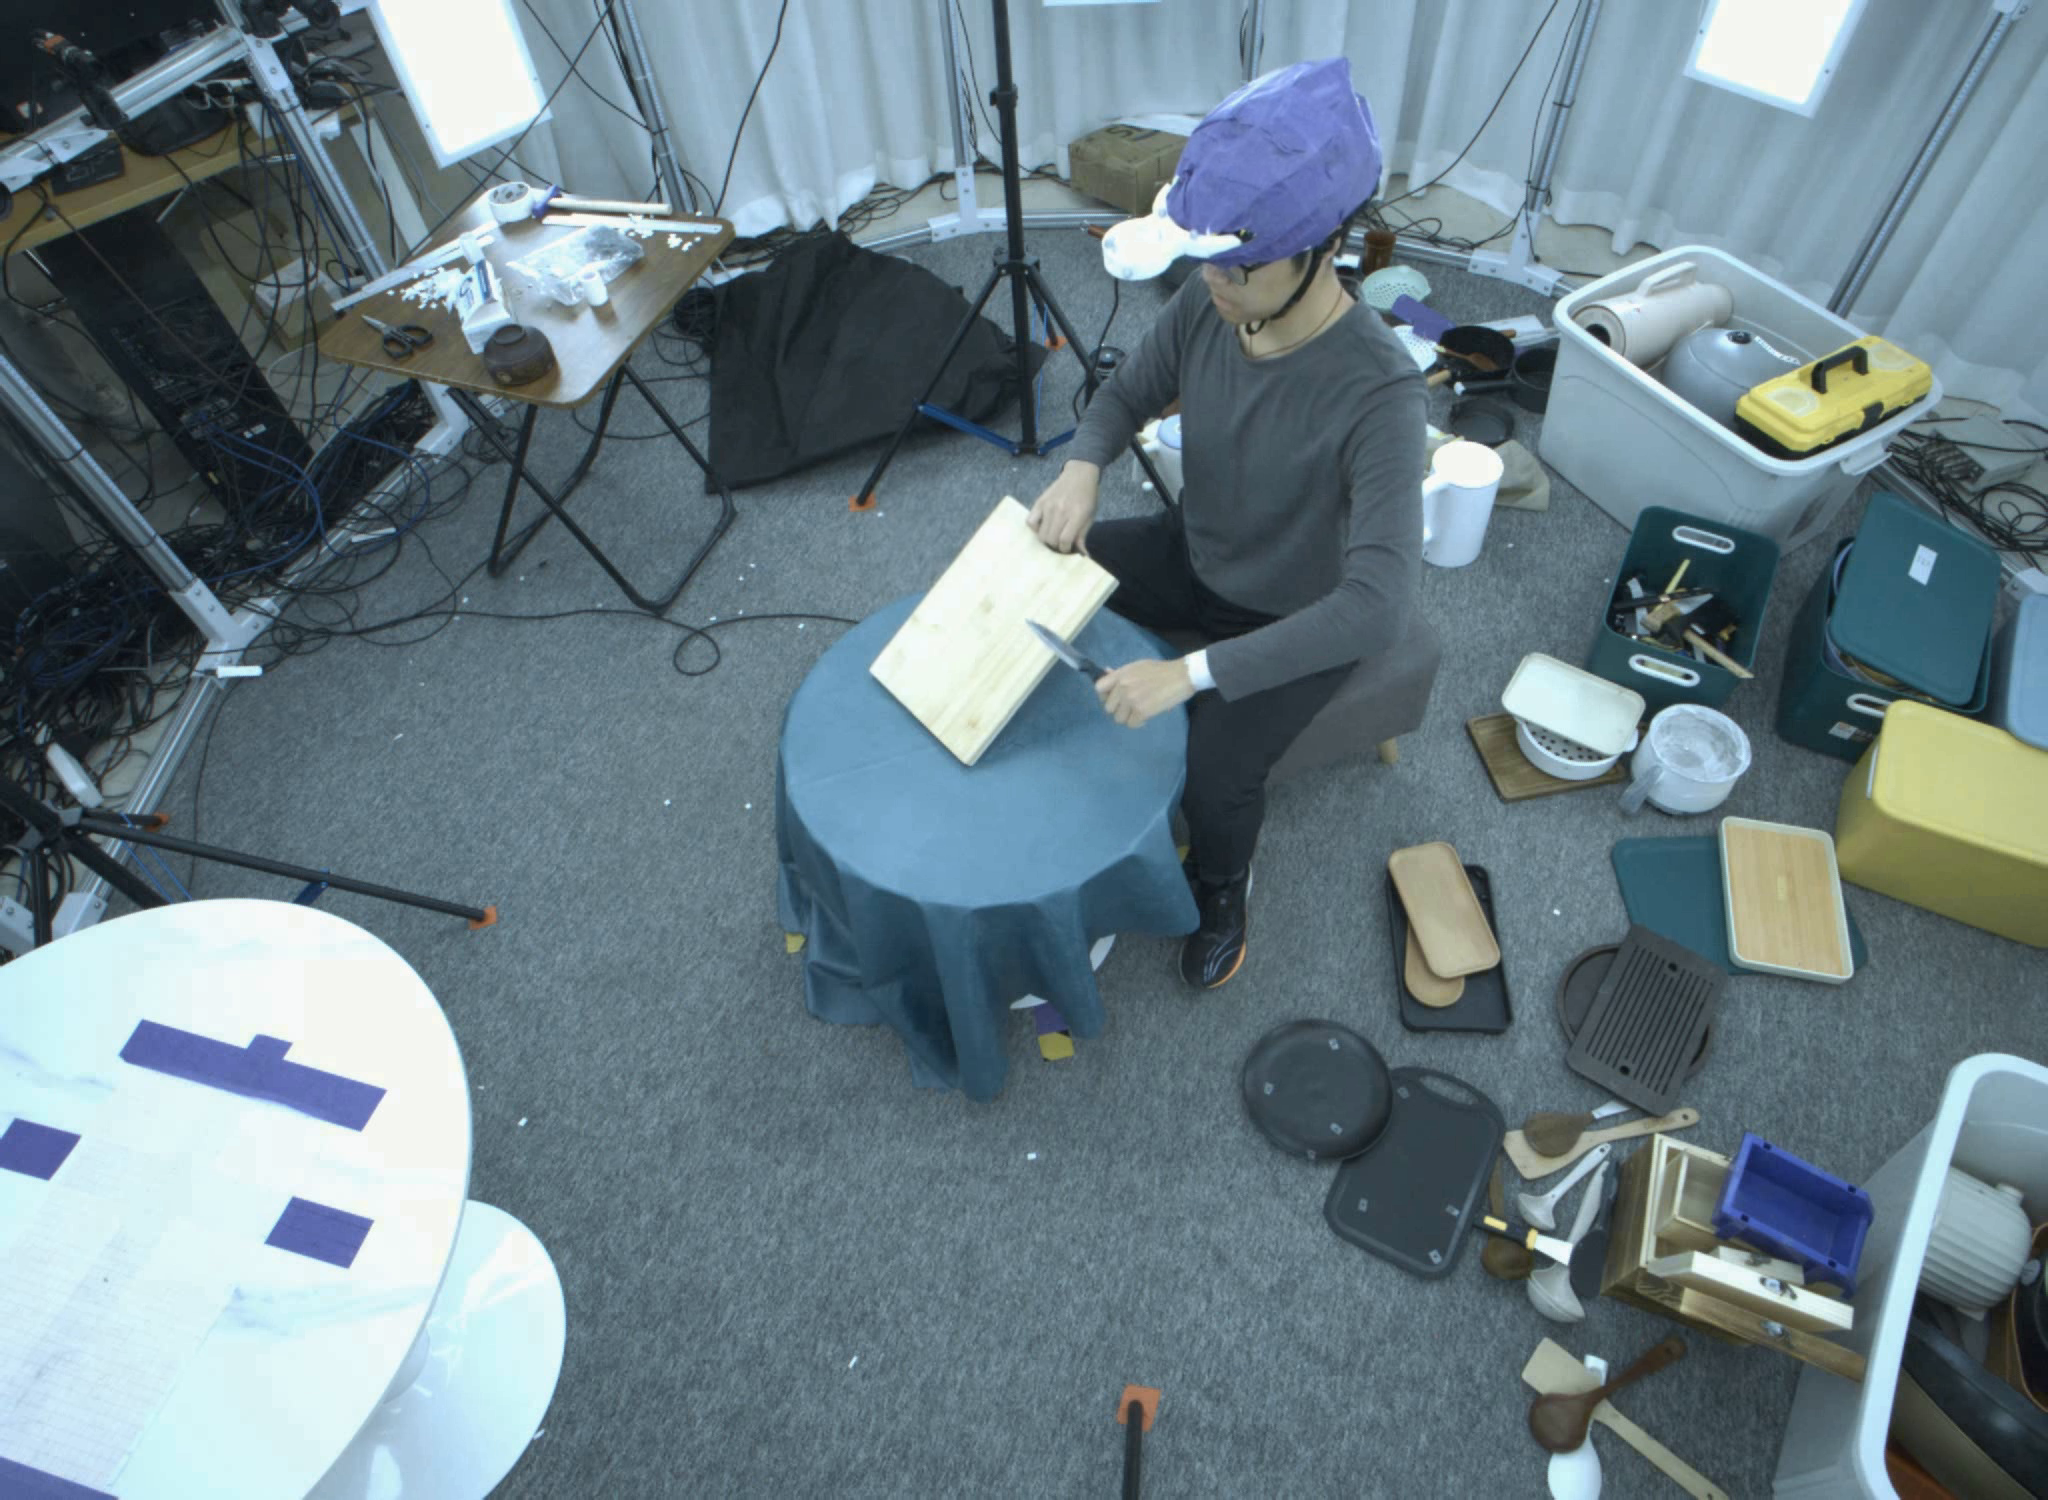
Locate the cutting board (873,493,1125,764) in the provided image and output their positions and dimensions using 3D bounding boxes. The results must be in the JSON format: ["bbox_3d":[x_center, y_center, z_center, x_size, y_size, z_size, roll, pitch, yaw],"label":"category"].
[{"bbox_3d":[-0.046,-0.183,1.808,0.246,0.024,0.348,41,96,26],"label":"cutting board"}]

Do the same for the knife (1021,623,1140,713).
[{"bbox_3d":[0.077,-0.121,1.721,0.233,0.016,0.024,39,94,29],"label":"knife"}]
